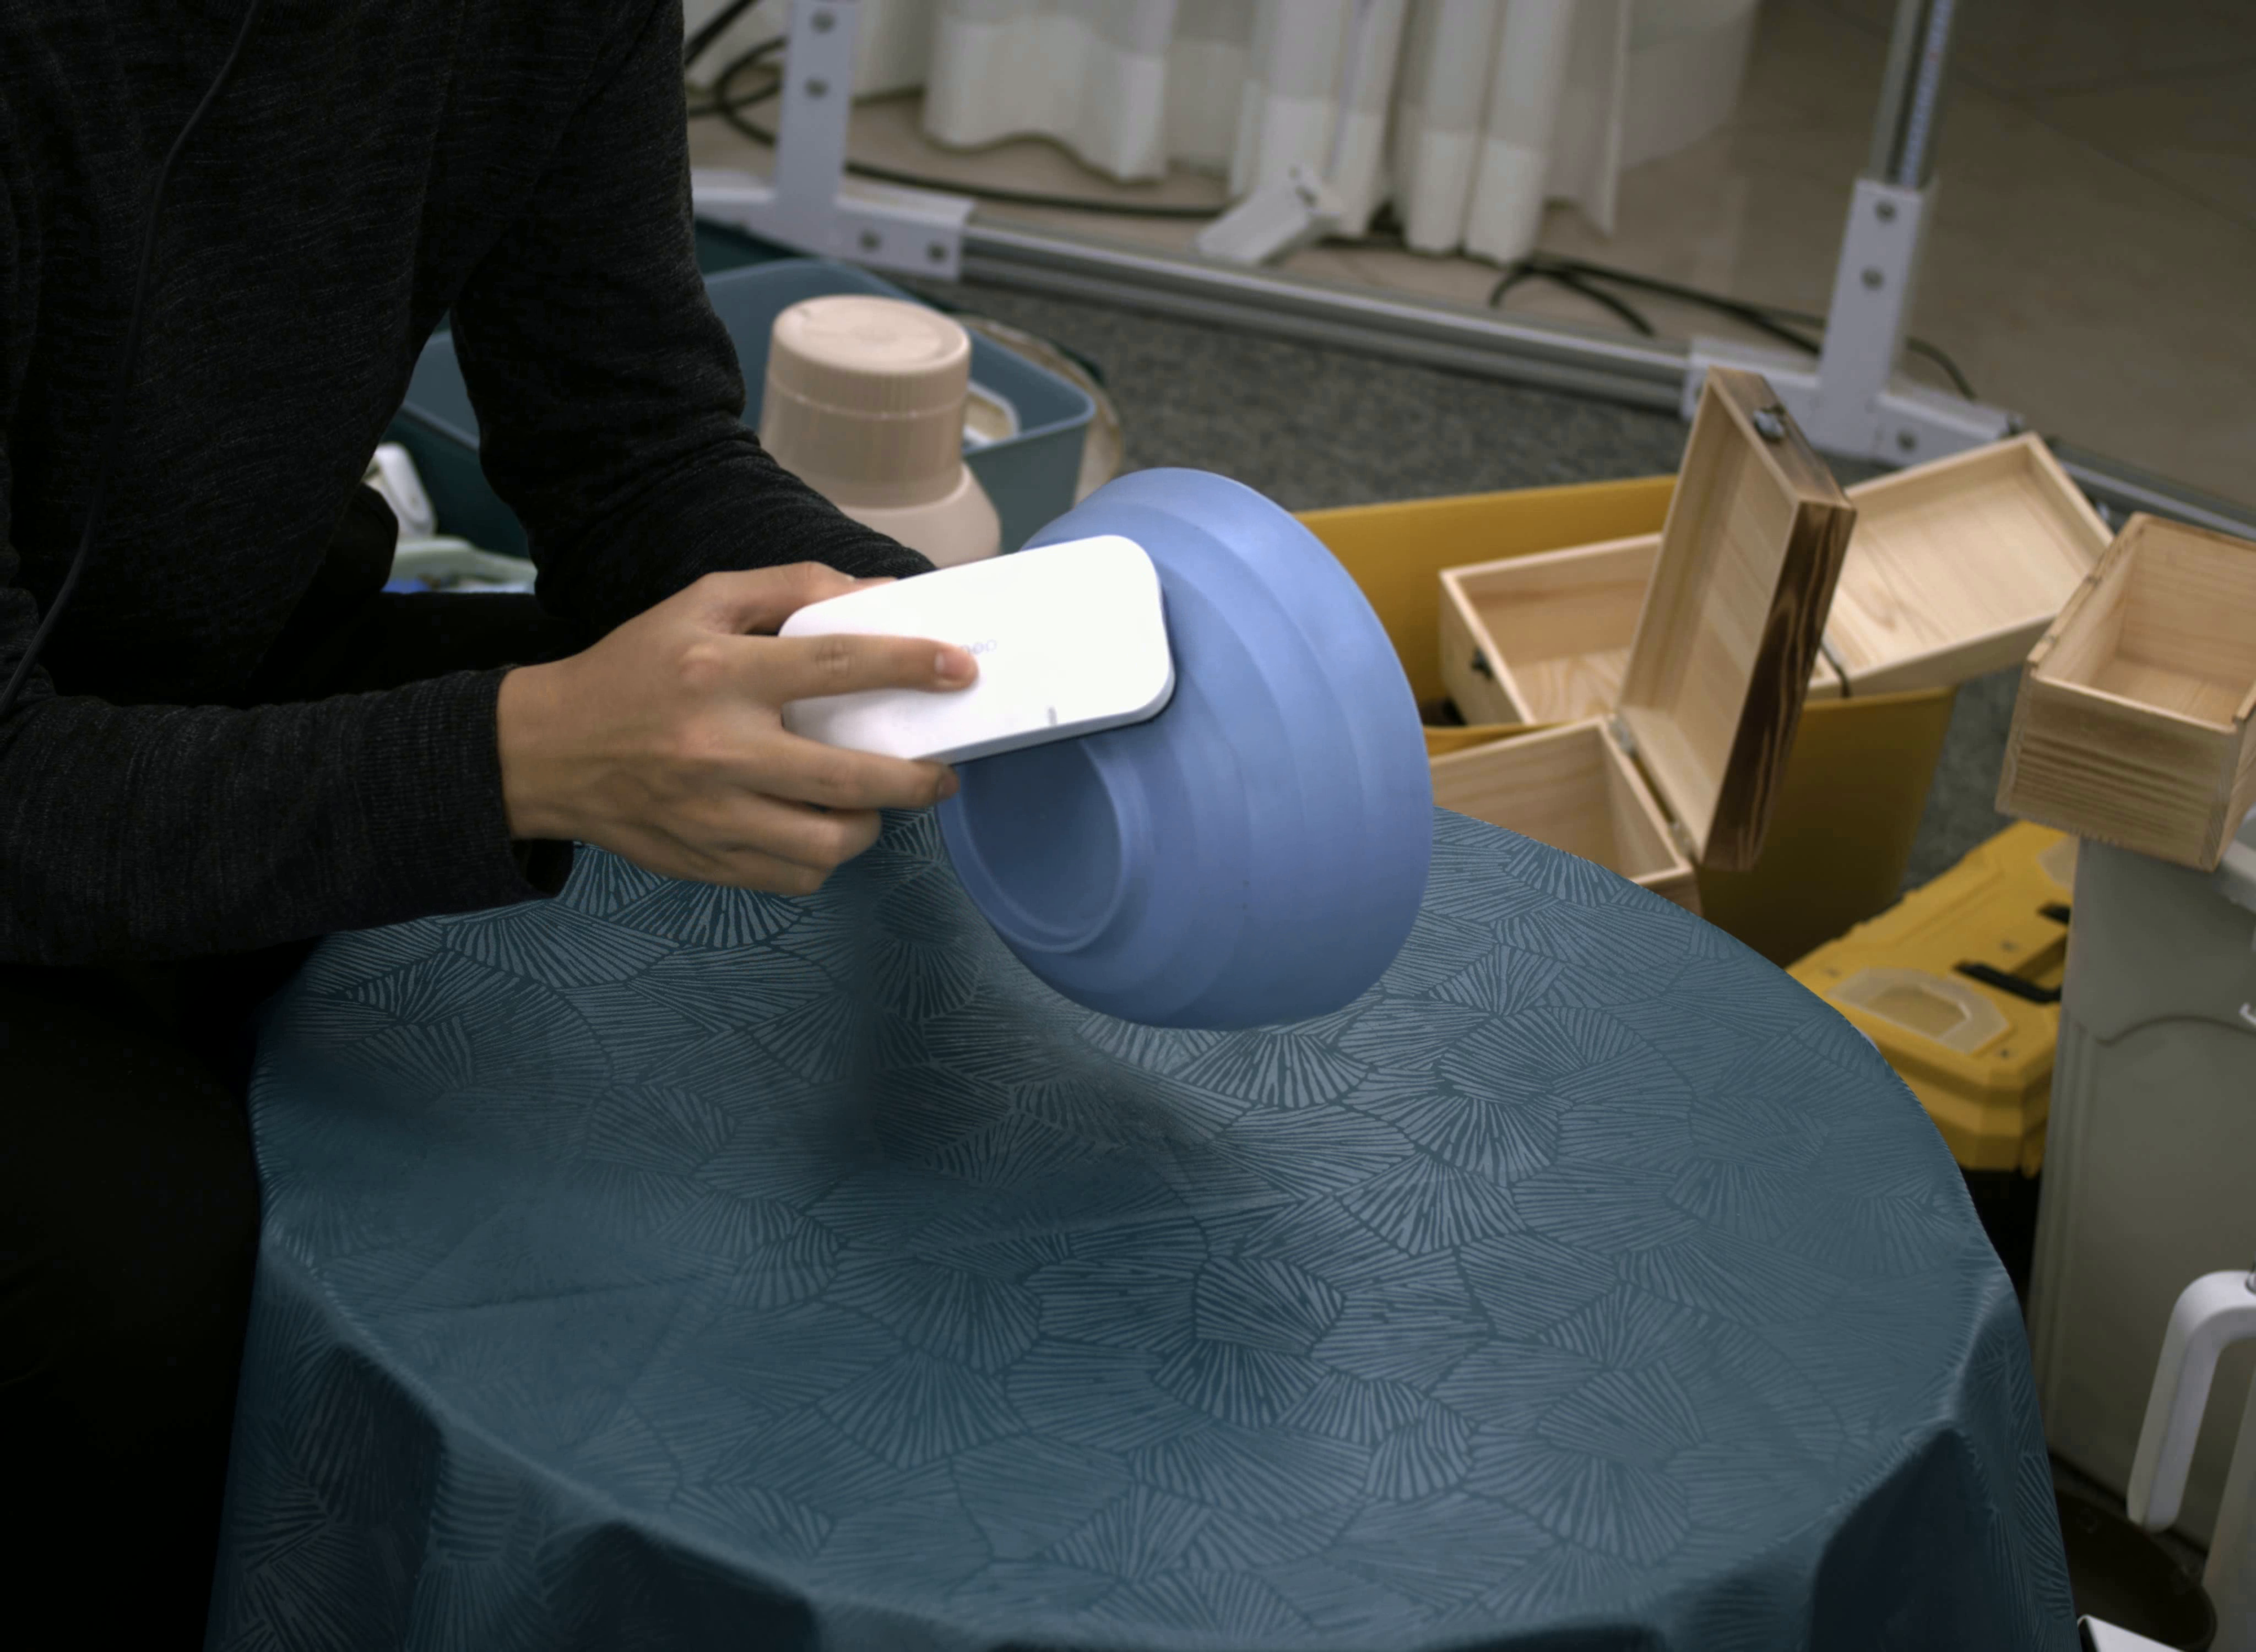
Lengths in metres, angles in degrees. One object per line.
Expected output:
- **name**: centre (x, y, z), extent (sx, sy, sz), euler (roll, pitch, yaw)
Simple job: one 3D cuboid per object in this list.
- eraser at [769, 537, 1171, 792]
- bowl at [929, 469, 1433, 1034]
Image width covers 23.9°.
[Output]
- **eraser**: centre (-0.052, -0.053, 1.726), extent (0.131, 0.064, 0.034), euler (-12, -19, 13)
- **bowl**: centre (-0.001, -0.014, 1.785), extent (0.095, 0.196, 0.198), euler (-21, 38, -40)
